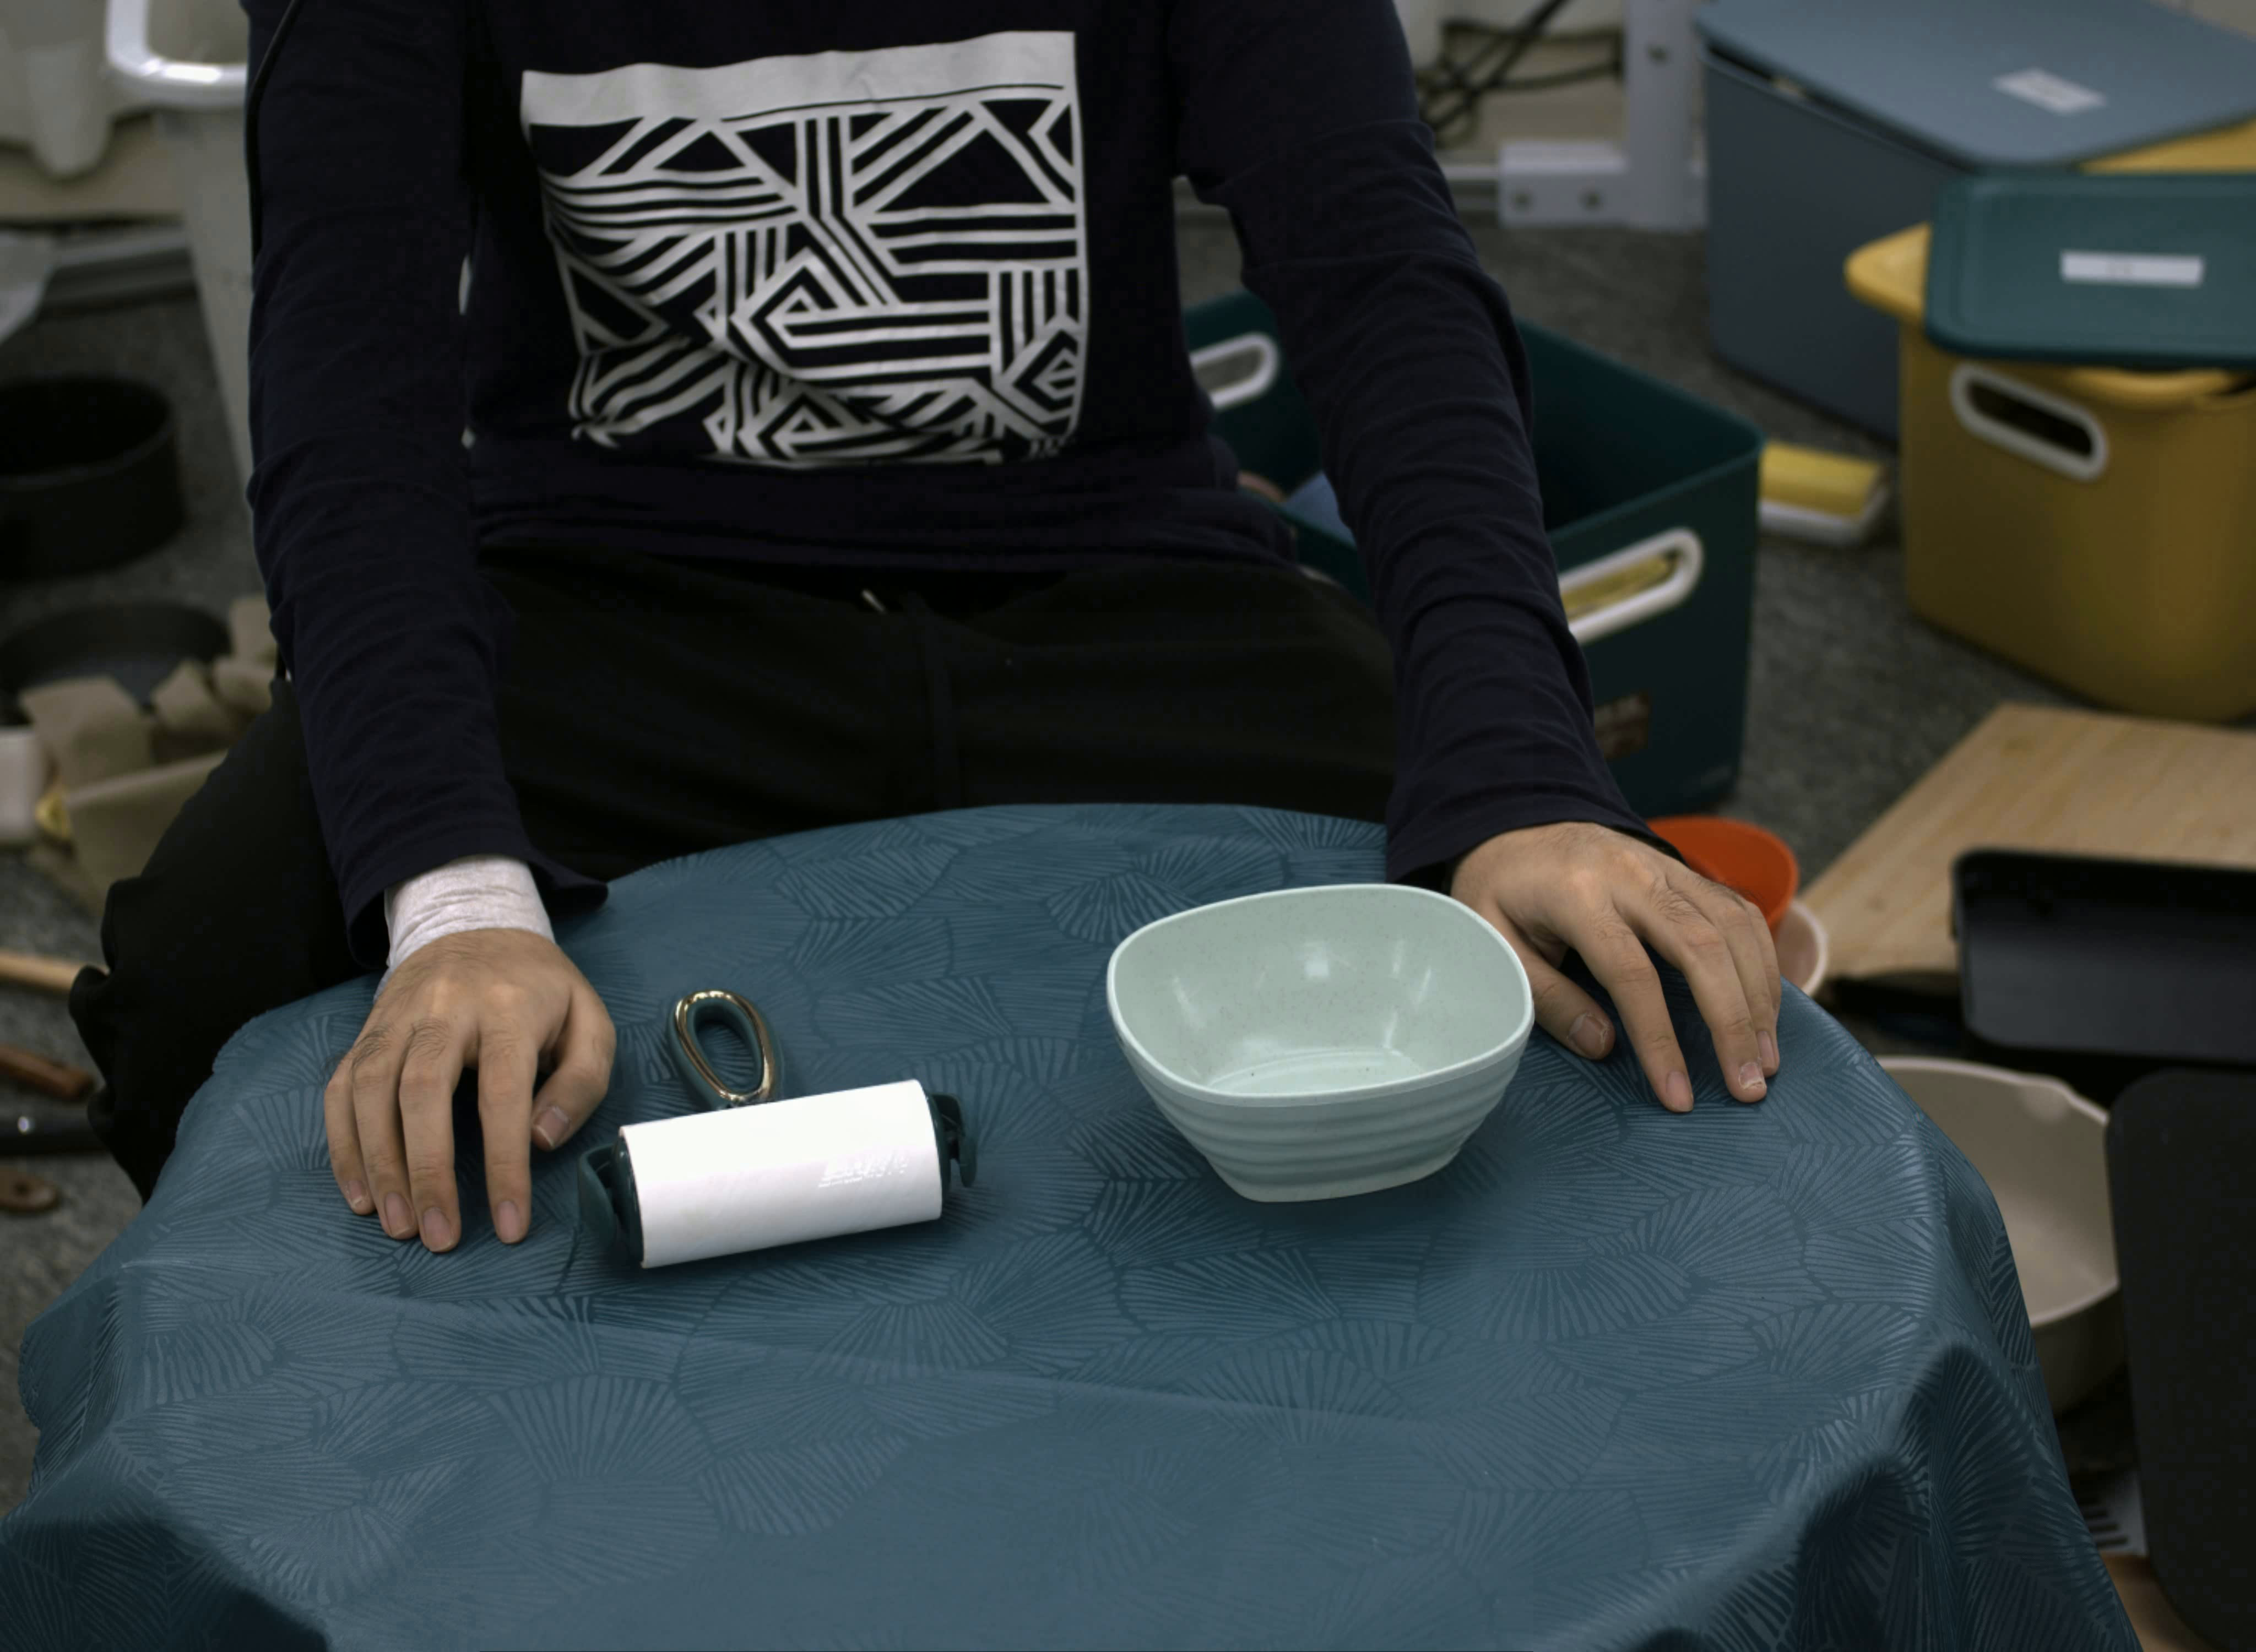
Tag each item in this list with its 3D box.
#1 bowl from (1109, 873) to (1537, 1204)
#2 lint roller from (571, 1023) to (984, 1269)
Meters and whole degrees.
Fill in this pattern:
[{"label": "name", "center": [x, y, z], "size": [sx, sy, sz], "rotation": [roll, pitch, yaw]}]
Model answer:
[{"label": "bowl", "center": [0.065, 0.077, 1.879], "size": [0.151, 0.058, 0.154], "rotation": [-2, 30, 2]}, {"label": "lint roller", "center": [-0.131, 0.088, 1.897], "size": [0.134, 0.048, 0.182], "rotation": [-9, 25, -12]}]
